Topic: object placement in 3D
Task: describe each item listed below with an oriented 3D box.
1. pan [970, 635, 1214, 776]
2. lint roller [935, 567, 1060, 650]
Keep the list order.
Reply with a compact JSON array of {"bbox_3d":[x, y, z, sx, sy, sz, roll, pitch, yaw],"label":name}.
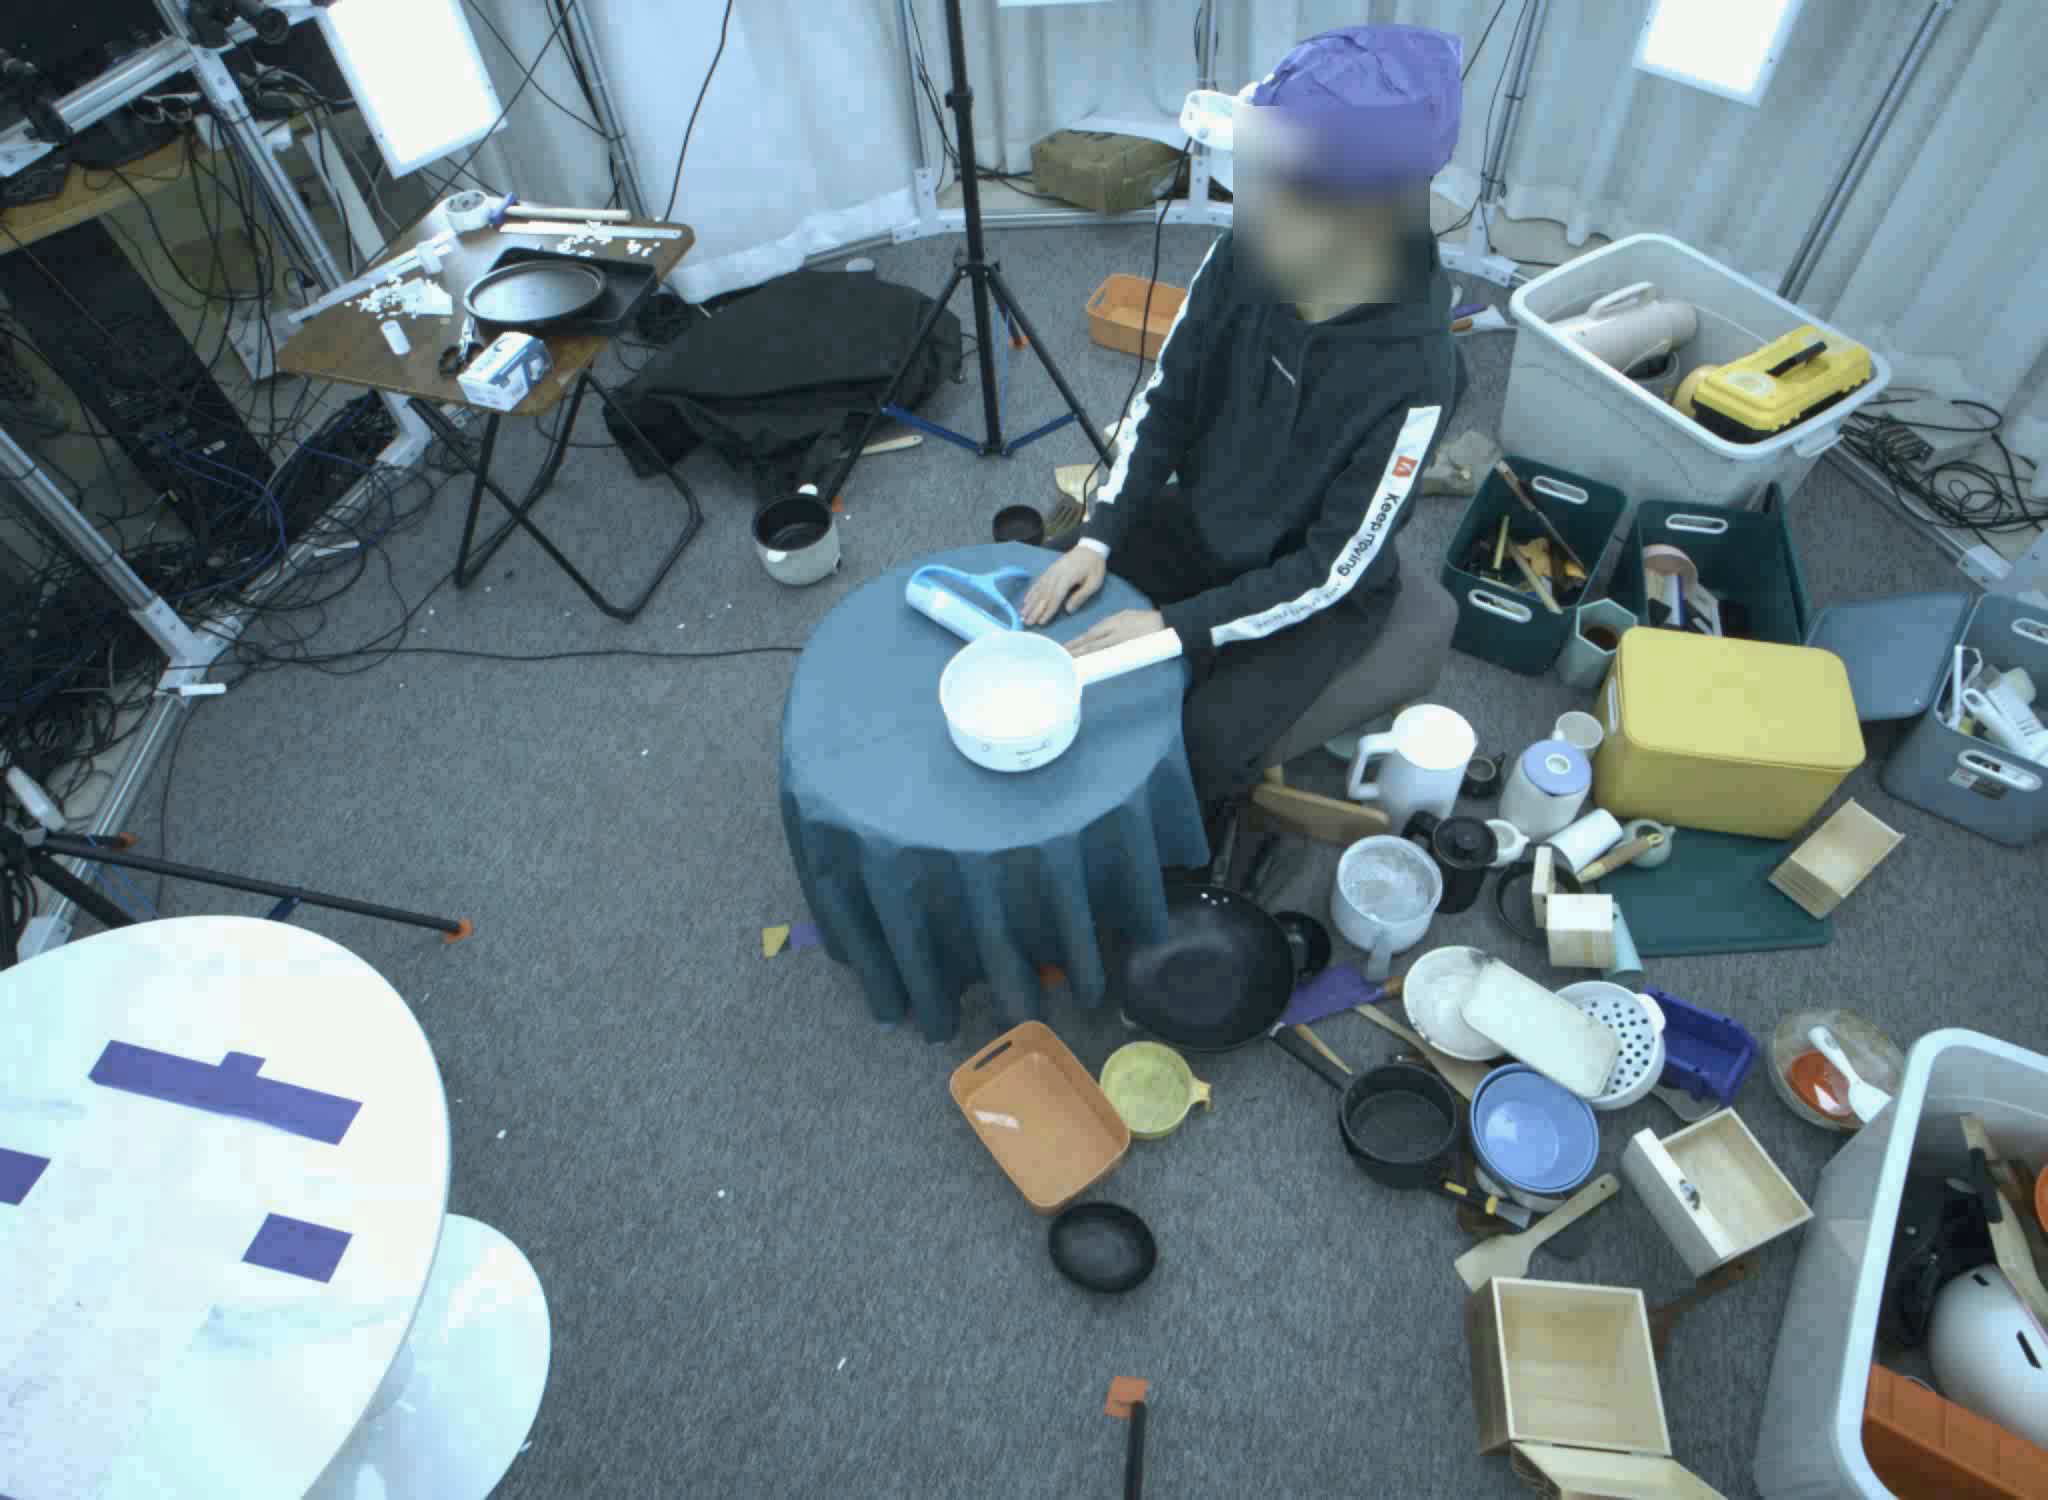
[{"bbox_3d":[0.100,-0.079,1.775,0.357,0.103,0.198,-15,54,-9],"label":"pan"},{"bbox_3d":[-0.012,-0.241,1.920,0.225,0.069,0.181,32,63,24],"label":"lint roller"}]
